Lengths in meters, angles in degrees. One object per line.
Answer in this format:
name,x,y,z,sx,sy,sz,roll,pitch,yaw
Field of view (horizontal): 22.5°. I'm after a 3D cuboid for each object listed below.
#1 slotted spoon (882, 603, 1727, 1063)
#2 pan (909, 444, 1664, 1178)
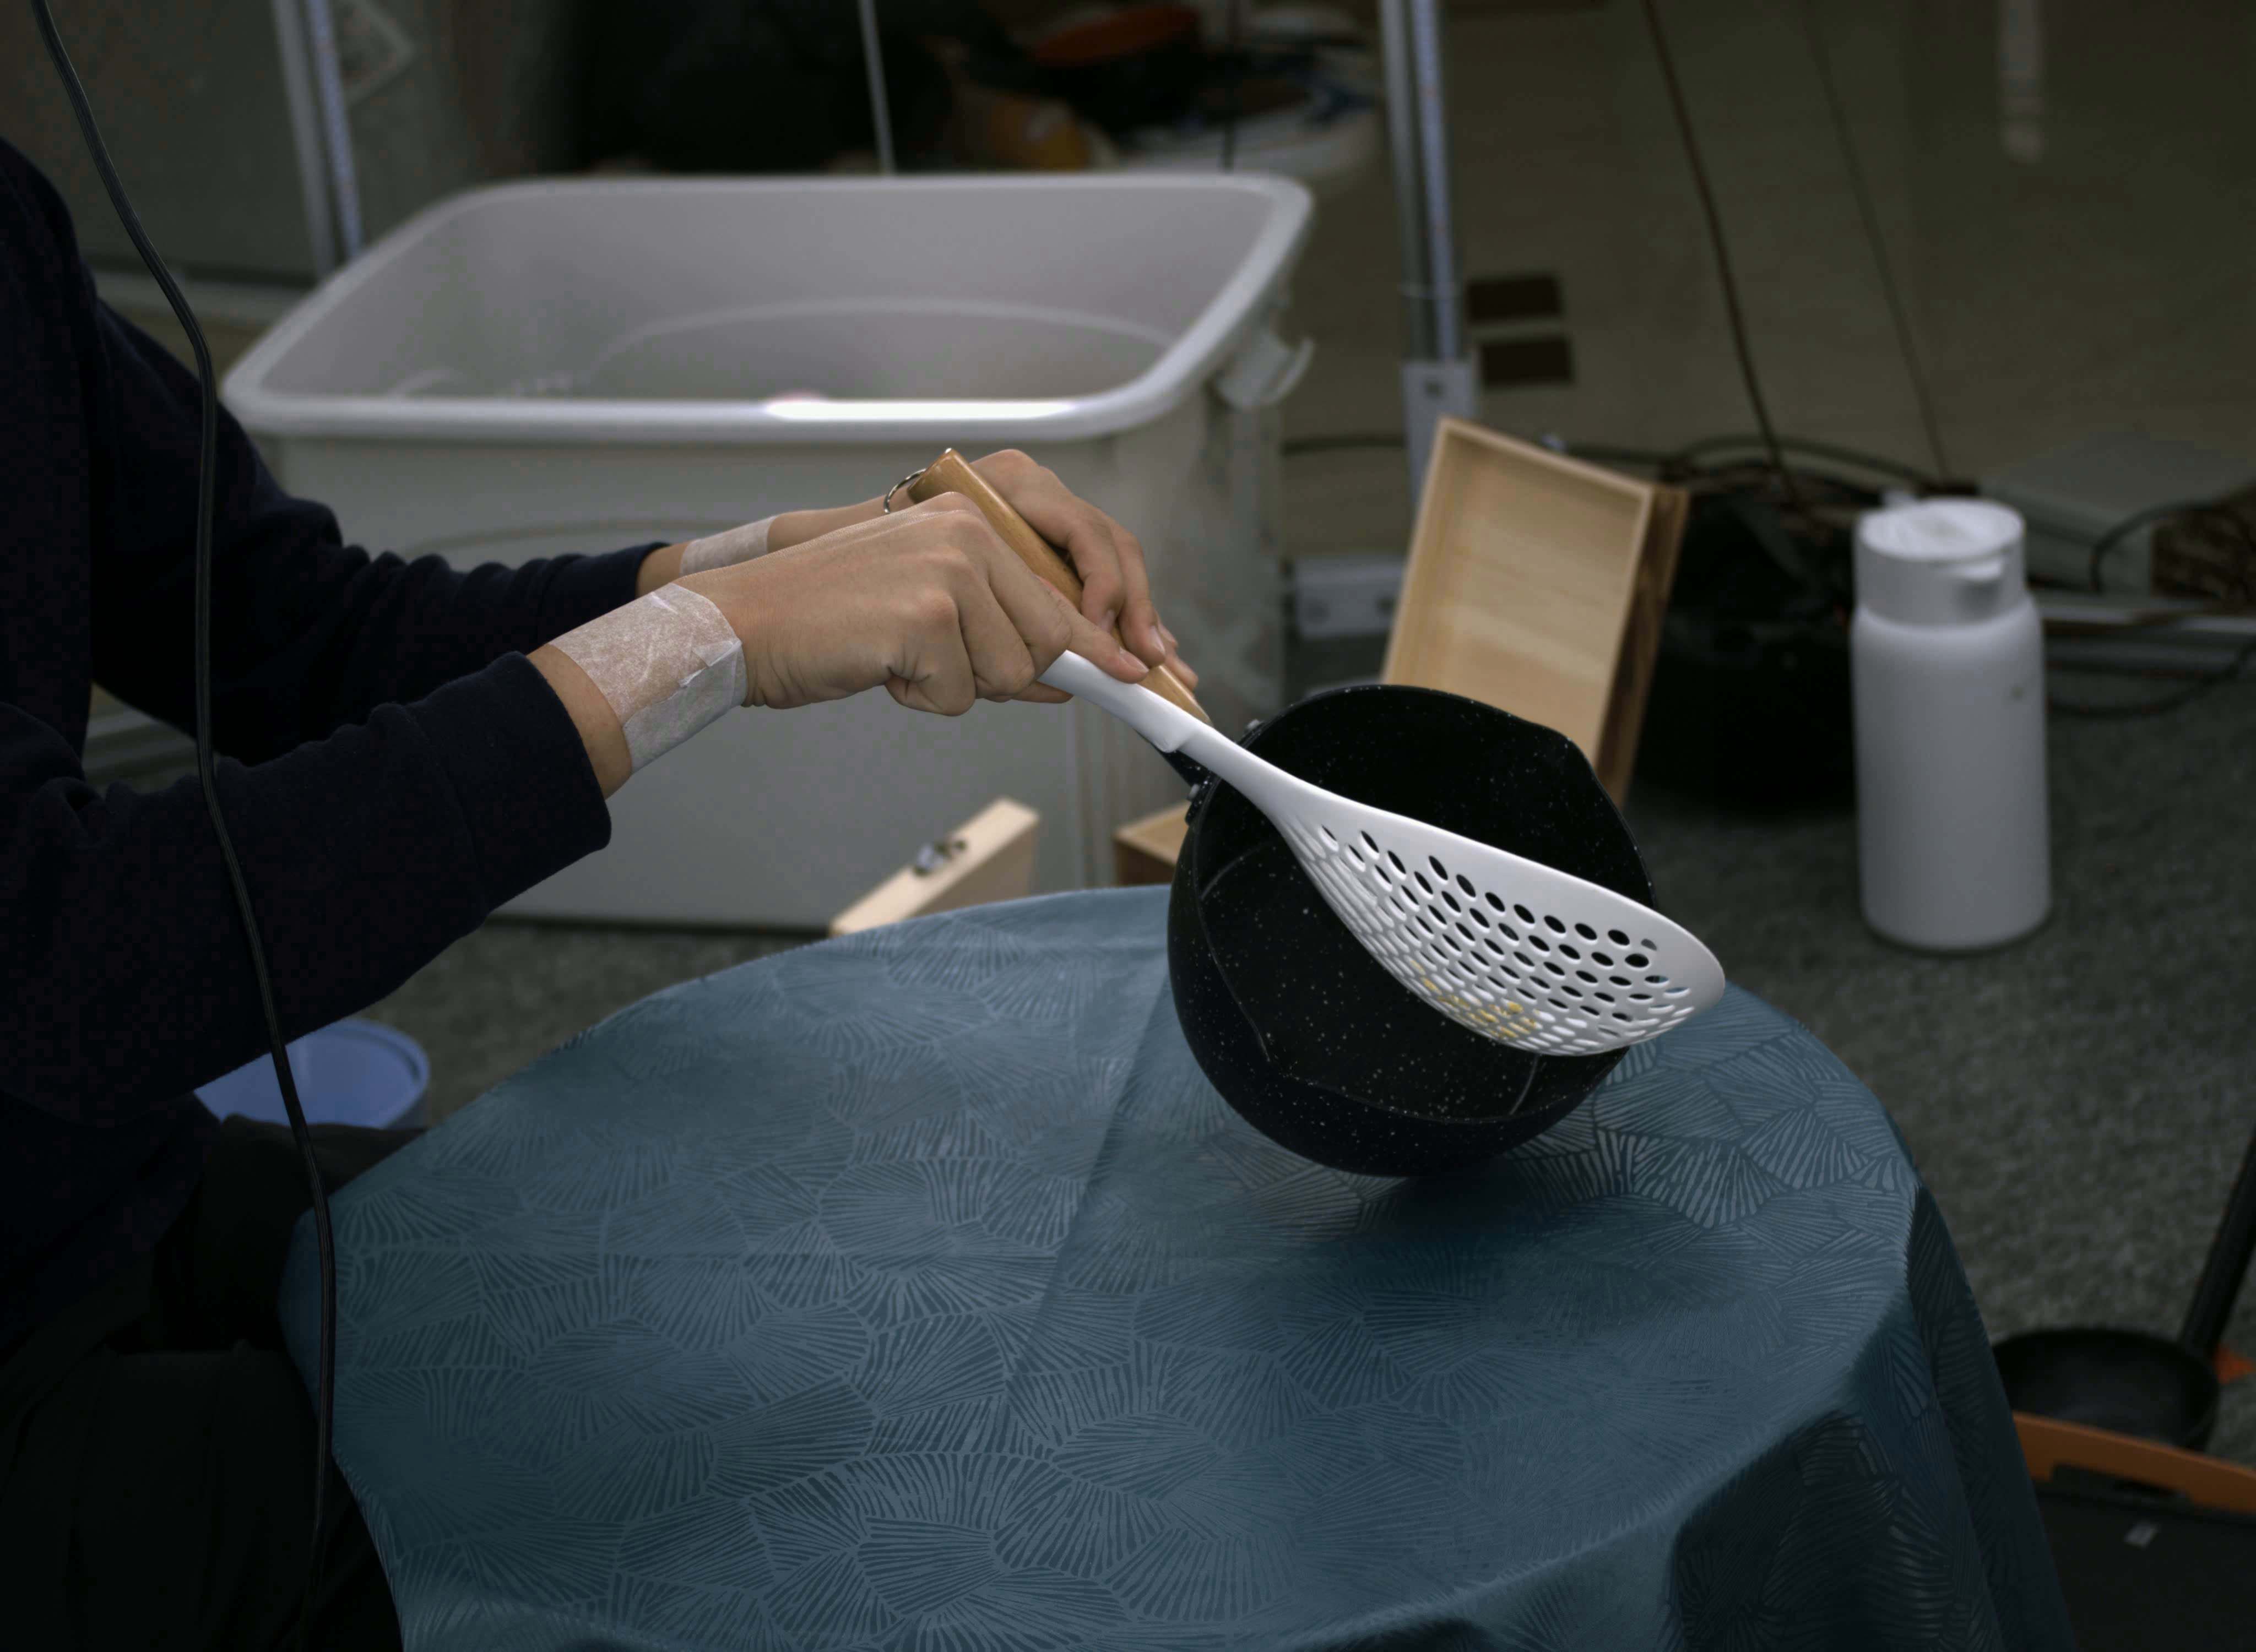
slotted spoon,0.057,0.000,2.005,0.137,0.350,0.050,-18,42,58
pan,0.041,-0.007,2.125,0.342,0.110,0.205,39,59,3
